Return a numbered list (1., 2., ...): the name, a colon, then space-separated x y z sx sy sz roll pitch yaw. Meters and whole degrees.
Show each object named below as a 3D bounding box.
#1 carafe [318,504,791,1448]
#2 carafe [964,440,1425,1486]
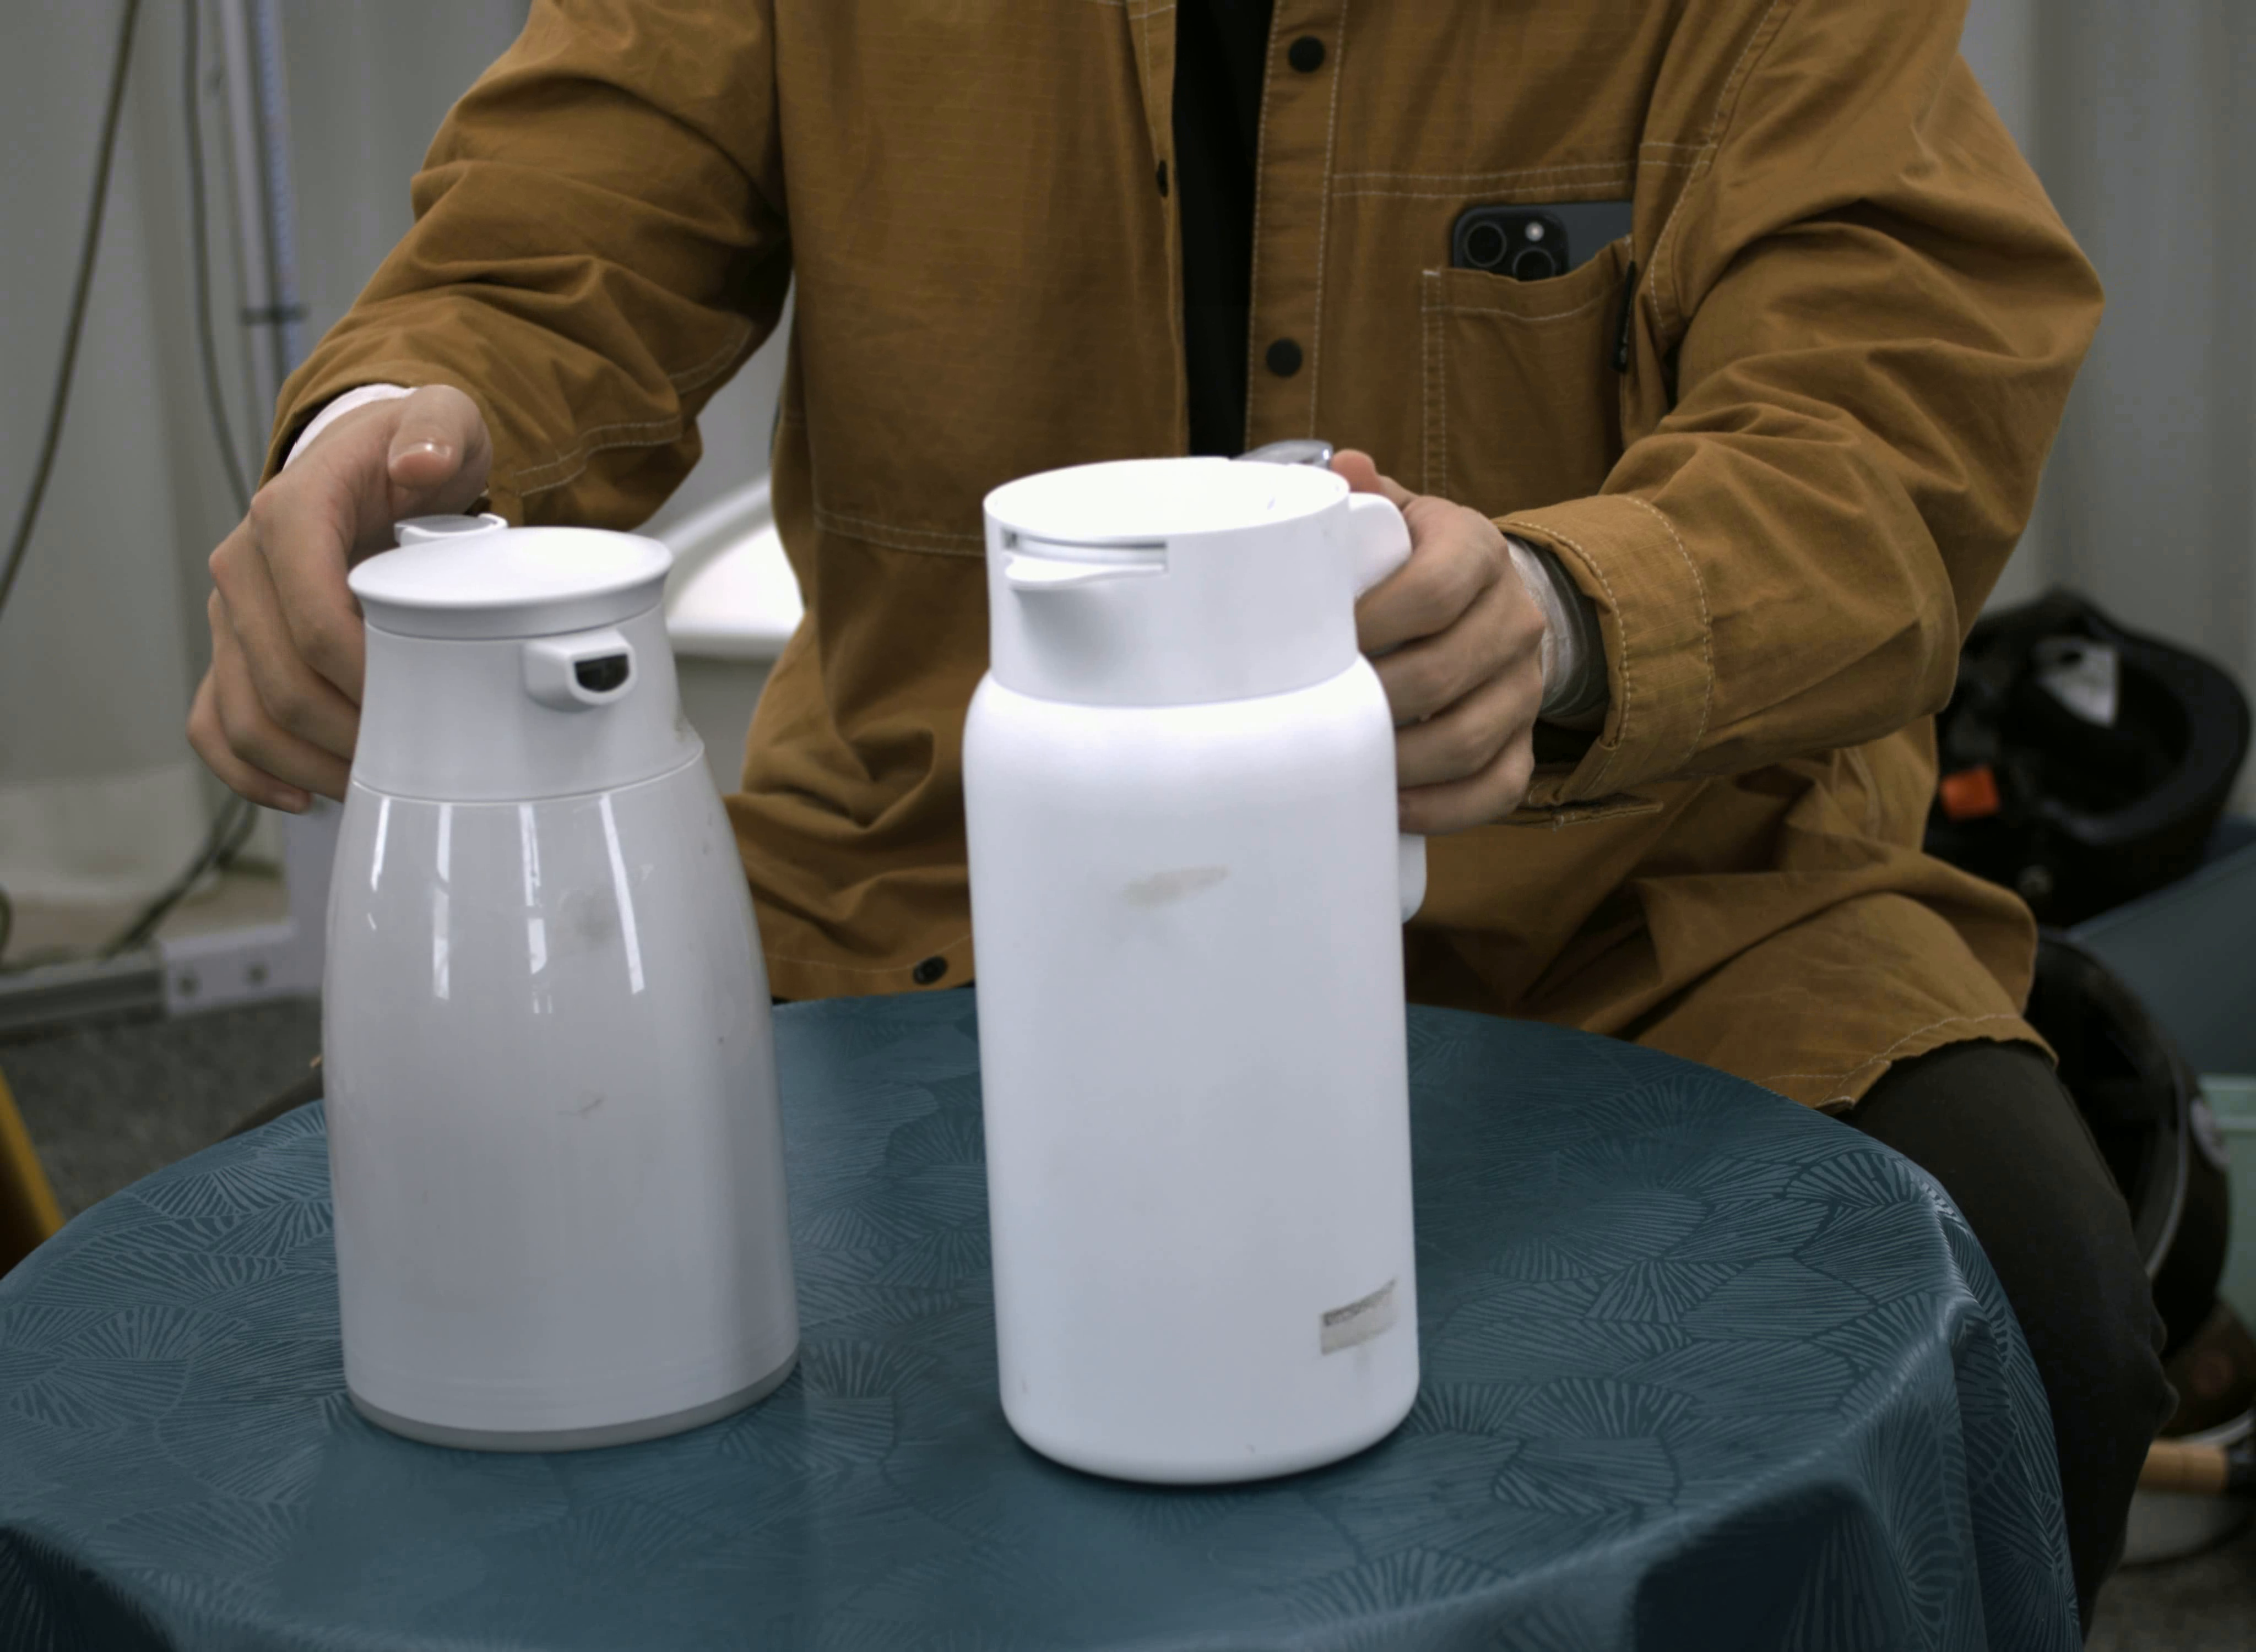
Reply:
1. carafe: -0.176 0.034 1.570 0.132 0.248 0.169 -9 14 -27
2. carafe: 0.025 0.033 1.502 0.124 0.268 0.173 4 15 33
